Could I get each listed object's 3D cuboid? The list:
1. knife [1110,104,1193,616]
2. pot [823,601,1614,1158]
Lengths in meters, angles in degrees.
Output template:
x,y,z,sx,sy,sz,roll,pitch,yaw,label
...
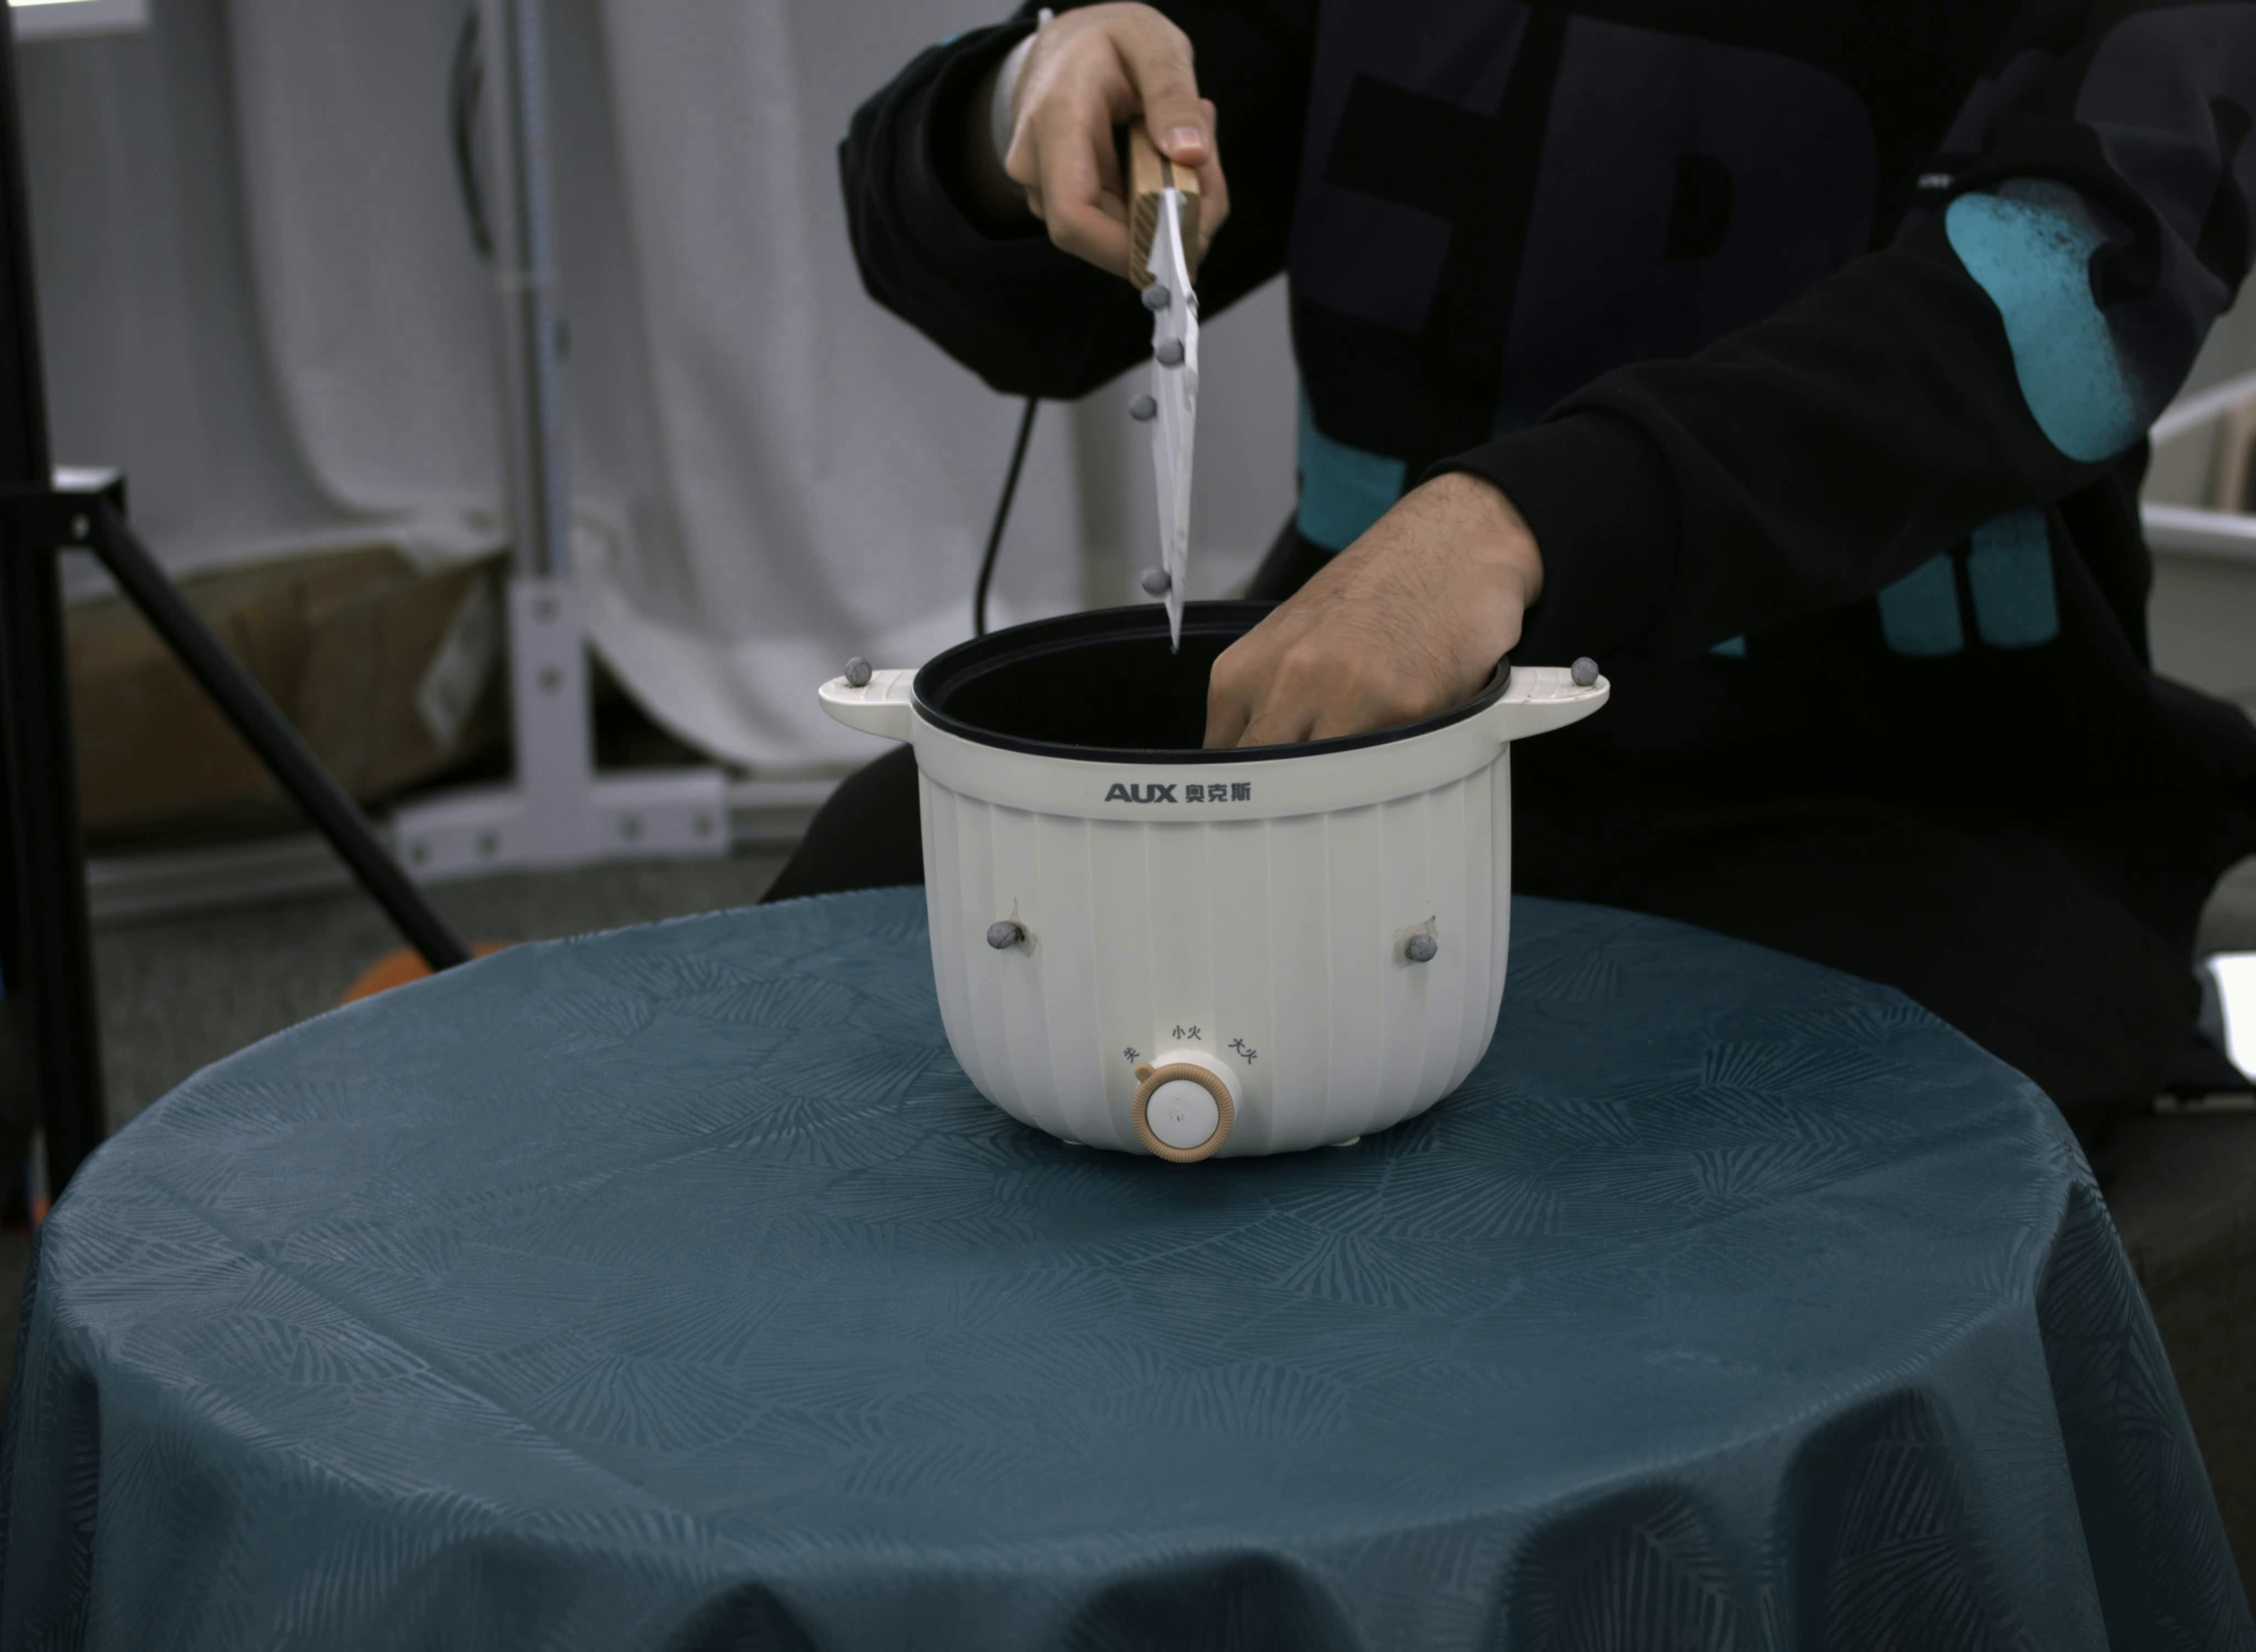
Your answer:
x,y,z,sx,sy,sz,roll,pitch,yaw,label
0.010,-0.163,1.671,0.021,0.114,0.318,2,26,-3,knife
0.029,0.019,1.613,0.241,0.143,0.190,-1,12,9,pot
